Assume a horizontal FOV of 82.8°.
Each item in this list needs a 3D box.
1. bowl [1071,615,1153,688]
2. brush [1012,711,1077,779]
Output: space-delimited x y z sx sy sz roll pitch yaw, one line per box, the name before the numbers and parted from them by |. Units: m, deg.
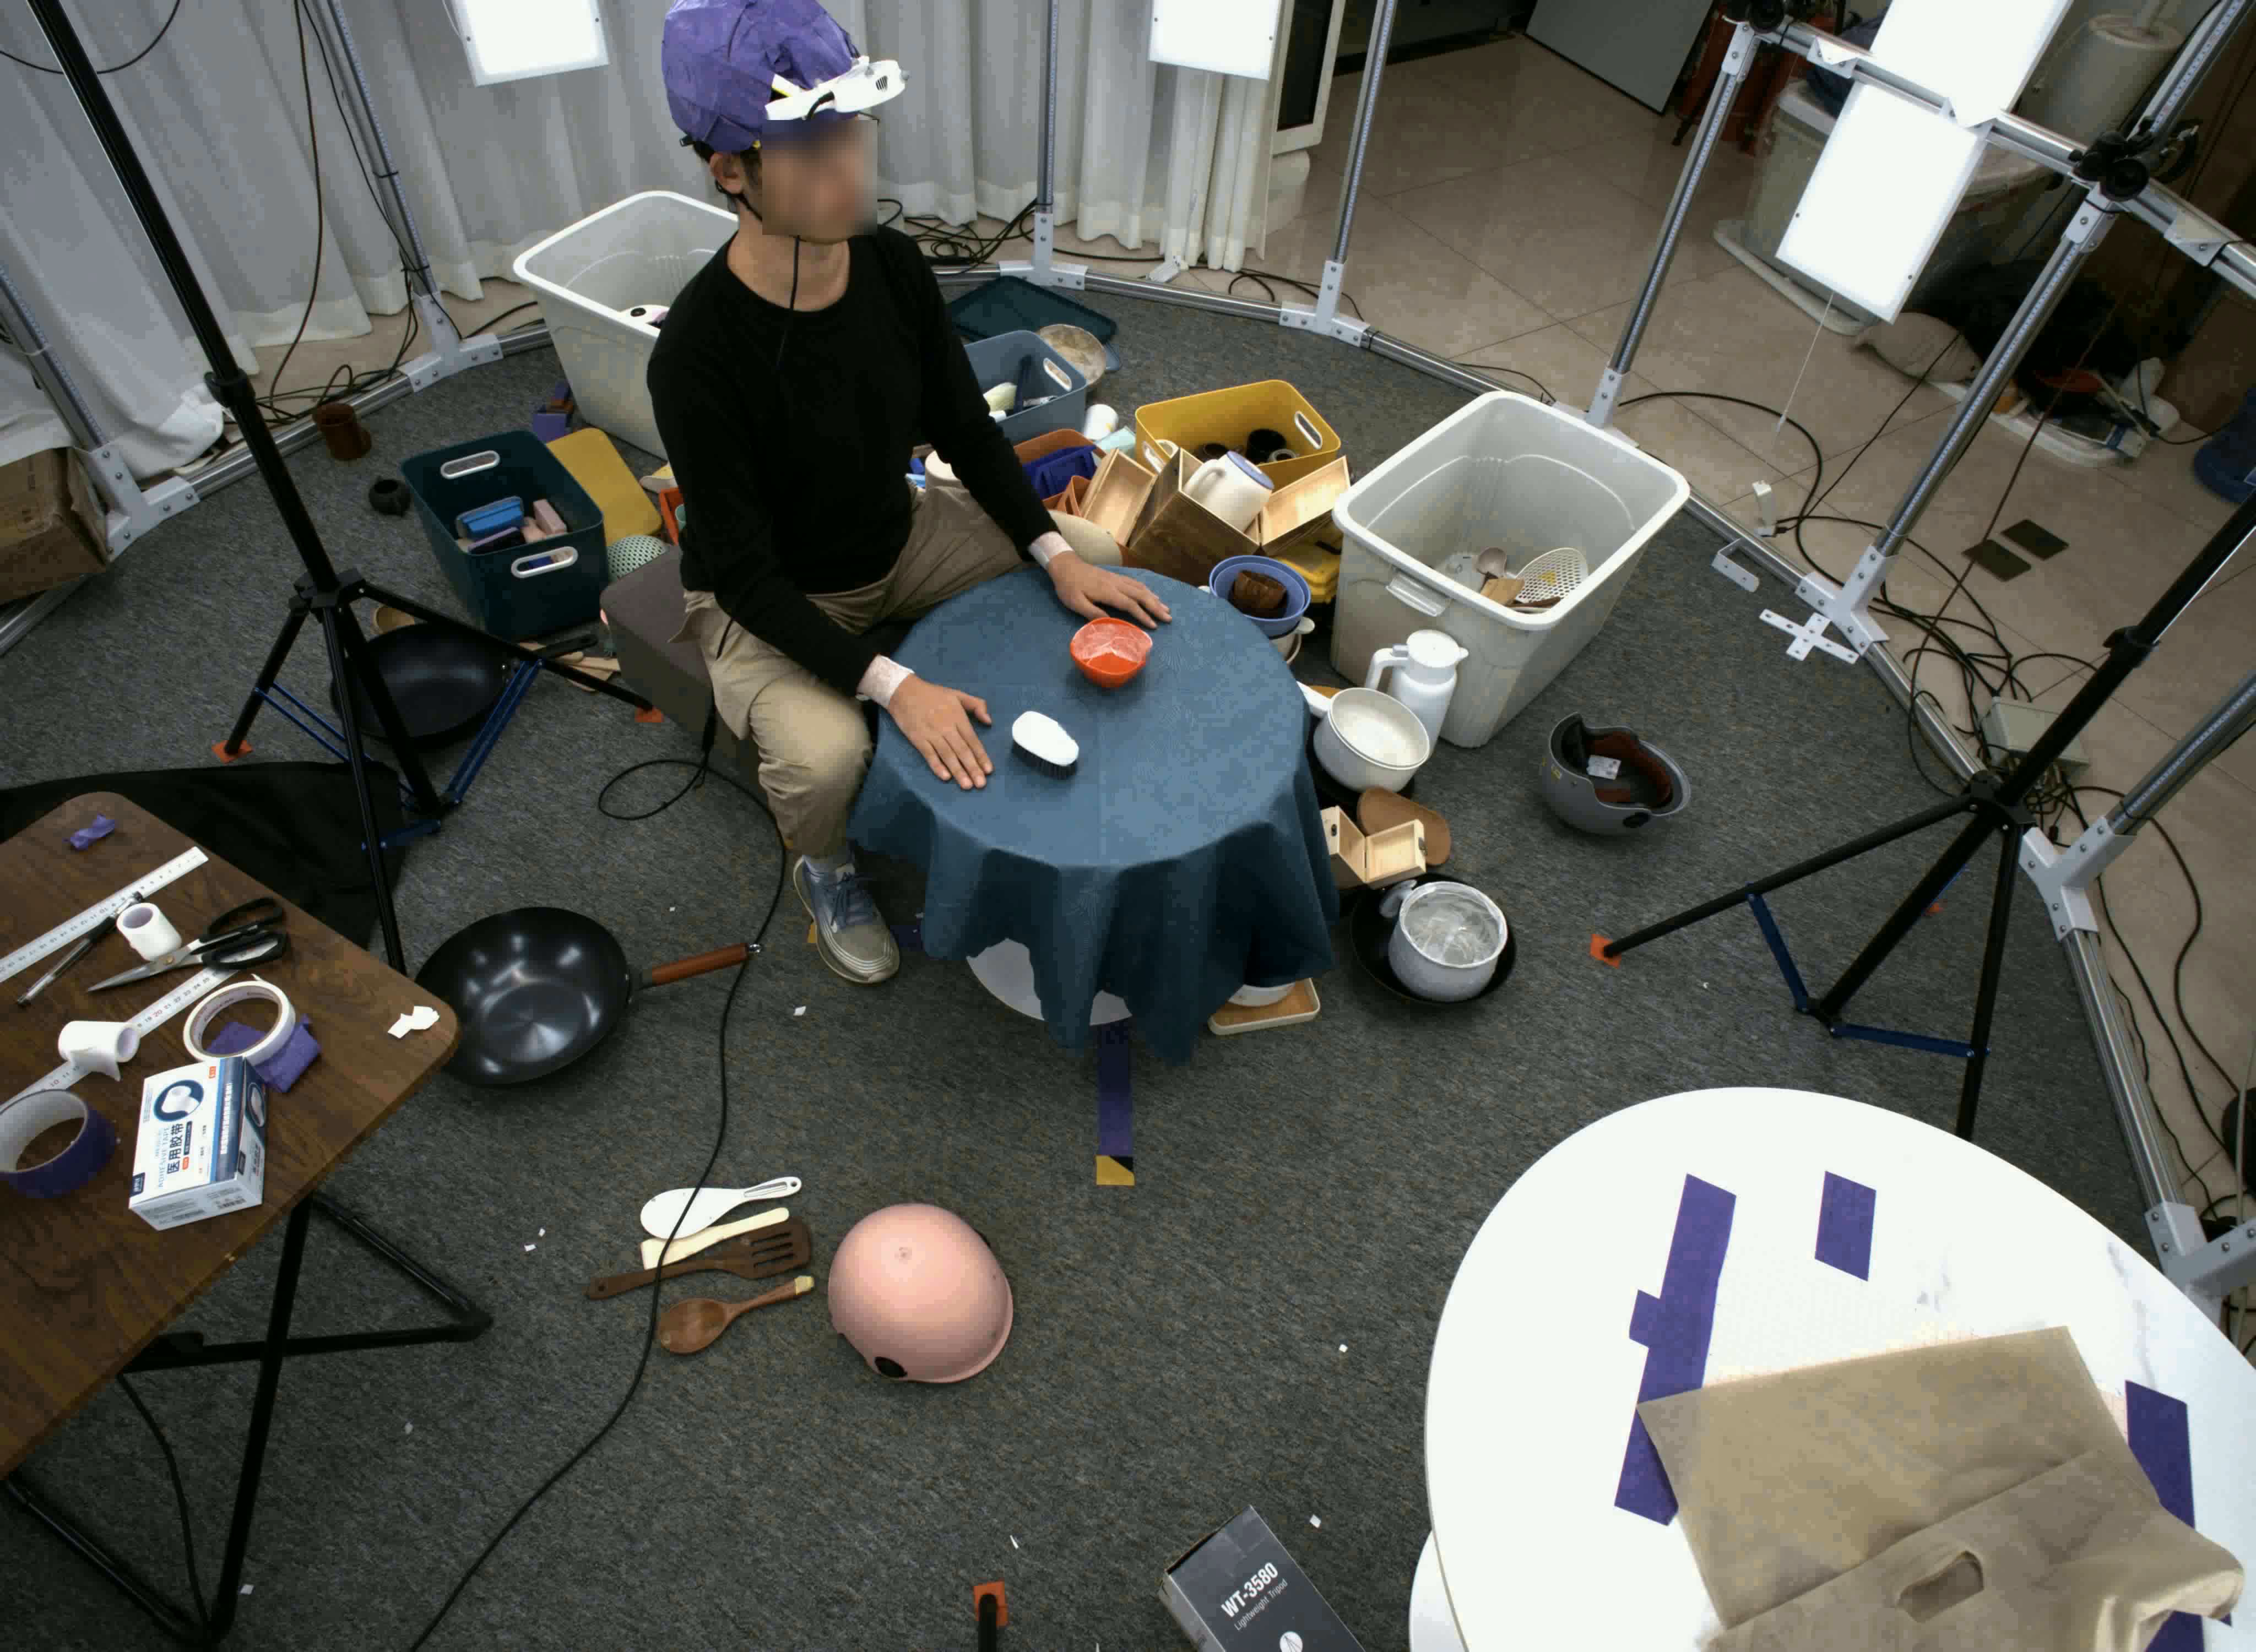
bowl | -0.025 -0.244 1.844 0.119 0.050 0.122 3 53 -4
brush | -0.112 -0.116 1.715 0.100 0.071 0.051 32 54 22
